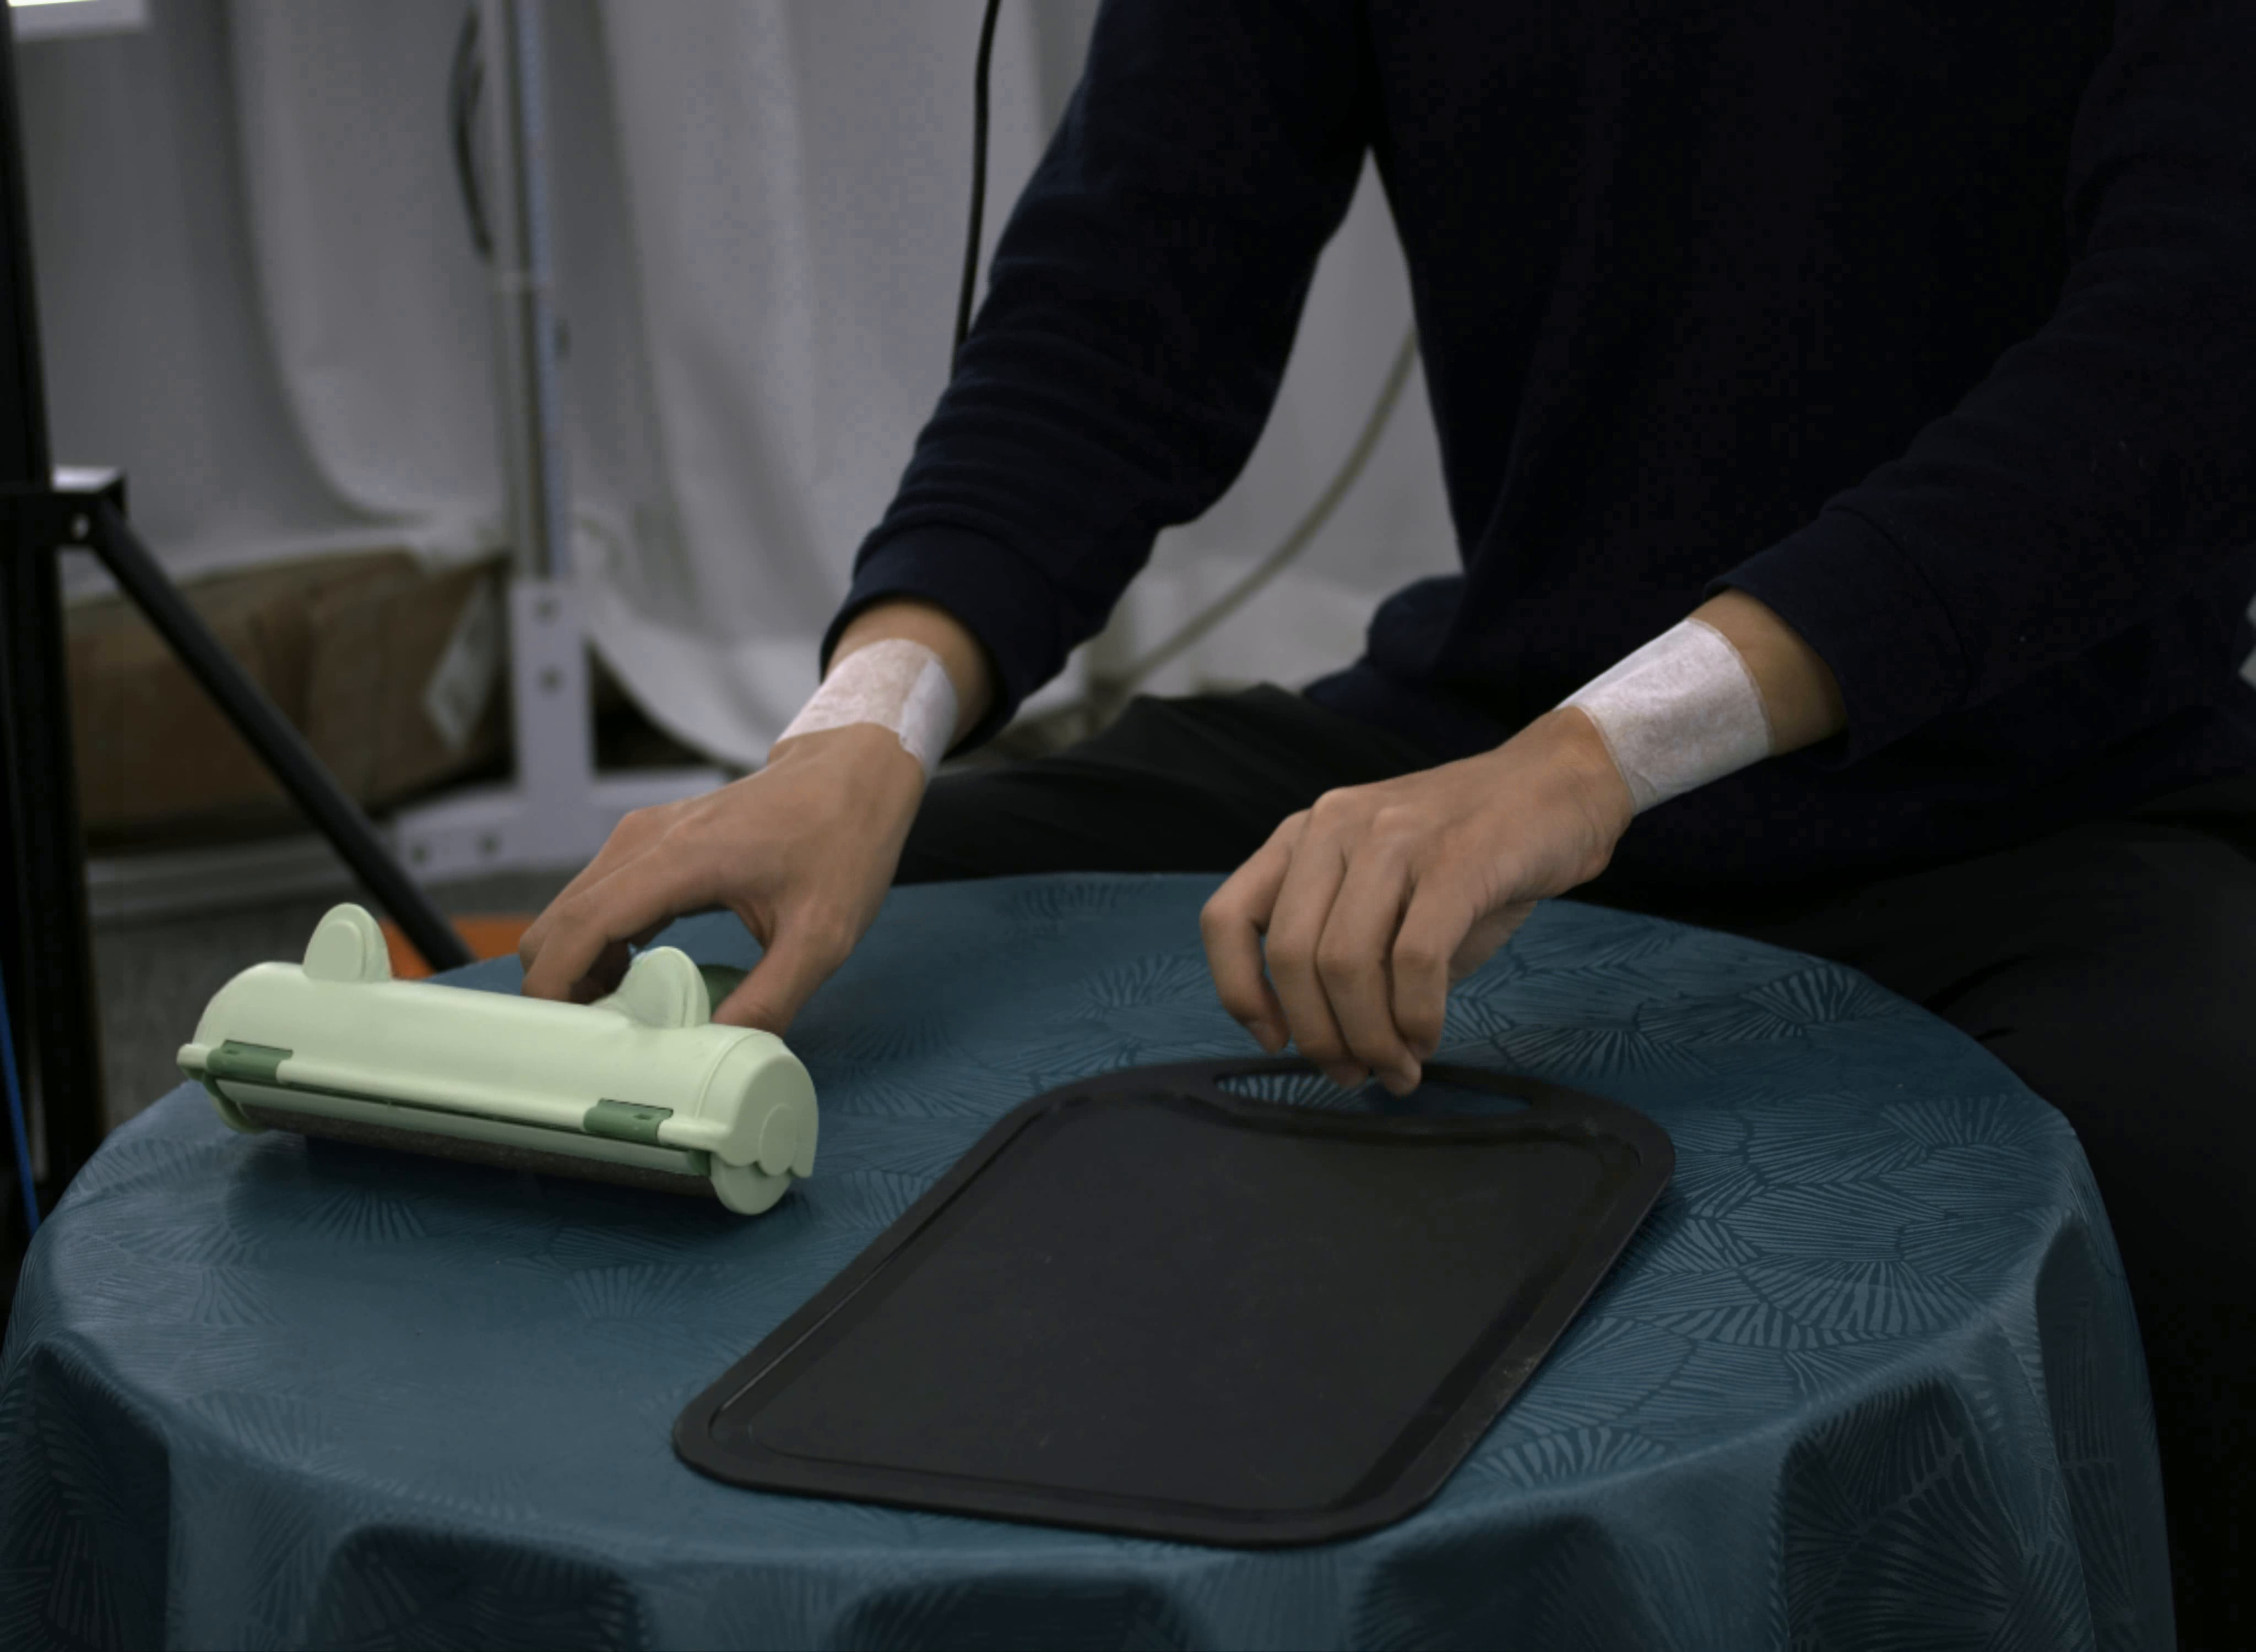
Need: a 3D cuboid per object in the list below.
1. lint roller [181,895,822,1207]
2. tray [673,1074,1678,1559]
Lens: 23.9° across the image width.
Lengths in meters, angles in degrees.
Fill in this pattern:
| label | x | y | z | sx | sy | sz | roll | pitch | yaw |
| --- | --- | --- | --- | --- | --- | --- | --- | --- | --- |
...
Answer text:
| label | x | y | z | sx | sy | sz | roll | pitch | yaw |
| --- | --- | --- | --- | --- | --- | --- | --- | --- | --- |
| lint roller | -0.162 | 0.049 | 1.637 | 0.202 | 0.082 | 0.180 | 7 | 25 | 29 |
| tray | 0.023 | 0.125 | 1.470 | 0.214 | 0.010 | 0.321 | 4 | 19 | 23 |
